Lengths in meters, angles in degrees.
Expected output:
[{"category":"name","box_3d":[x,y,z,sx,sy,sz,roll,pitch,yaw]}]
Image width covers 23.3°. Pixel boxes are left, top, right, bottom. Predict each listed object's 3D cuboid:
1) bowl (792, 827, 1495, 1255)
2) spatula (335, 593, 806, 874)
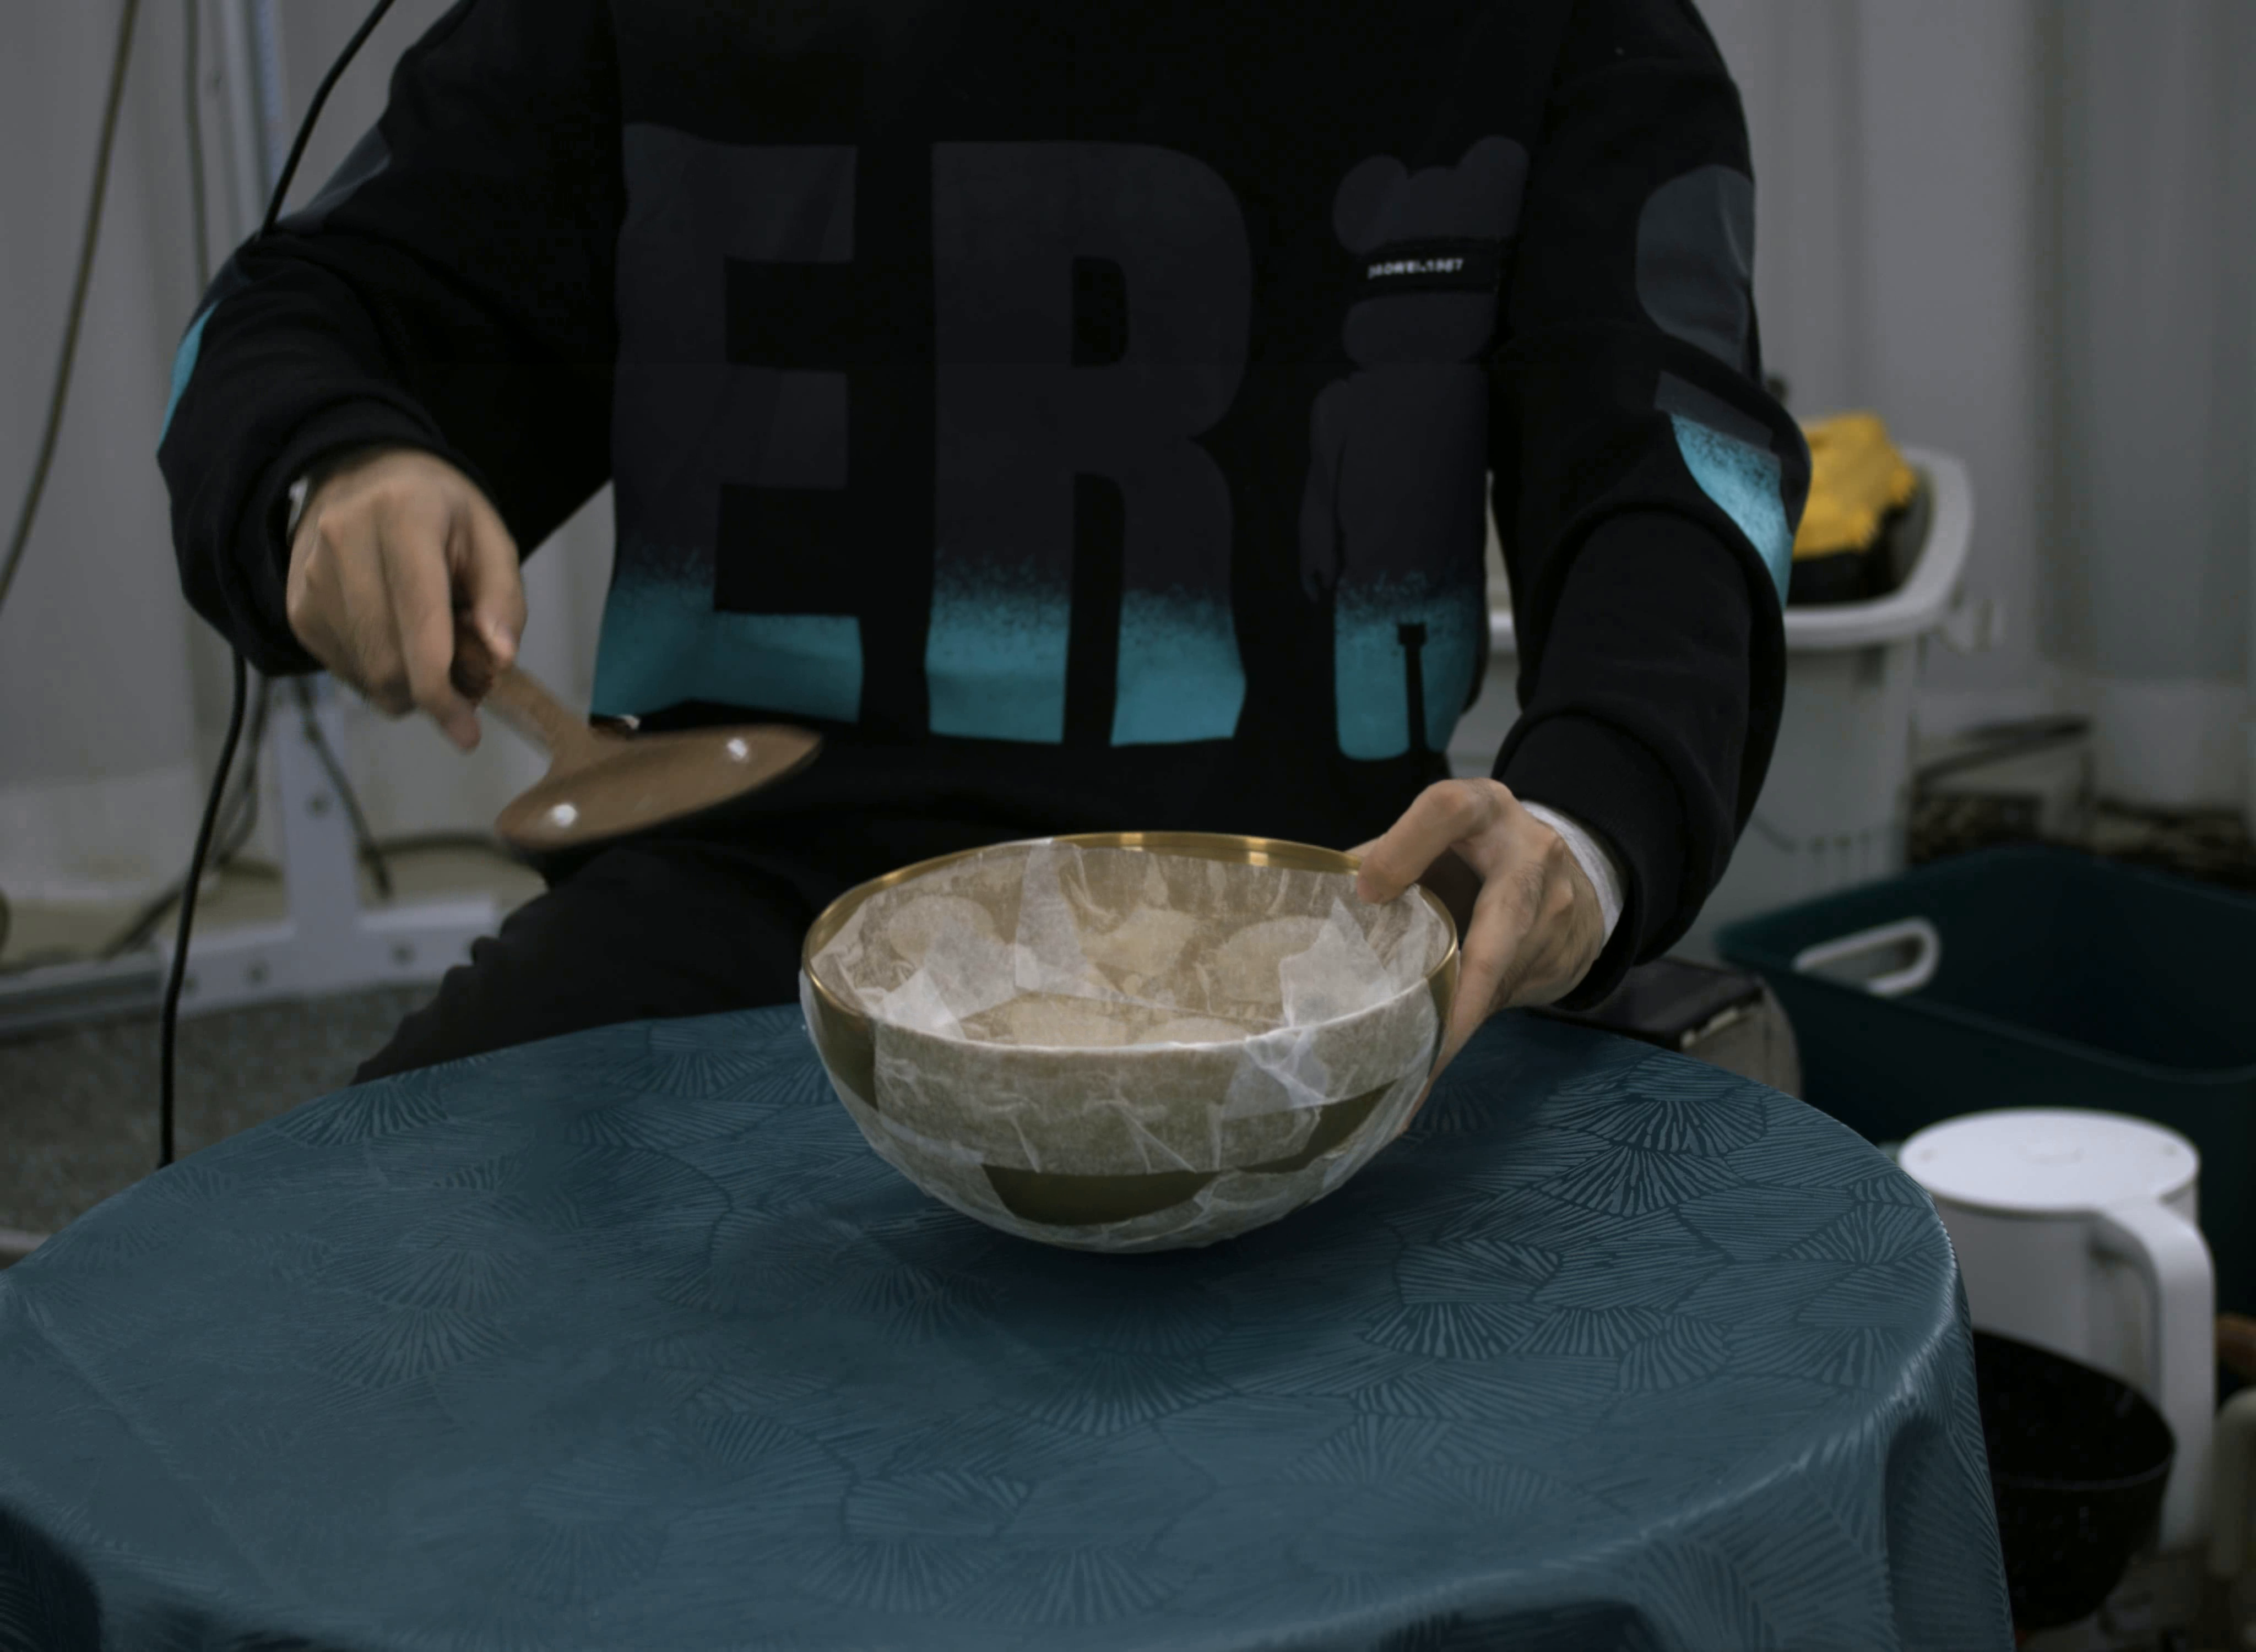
[{"category":"bowl","box_3d":[0.004,0.074,1.665,0.214,0.094,0.216,-3,17,1]},{"category":"spatula","box_3d":[-0.196,-0.036,1.723,0.096,0.015,0.389,-19,19,-16]}]
